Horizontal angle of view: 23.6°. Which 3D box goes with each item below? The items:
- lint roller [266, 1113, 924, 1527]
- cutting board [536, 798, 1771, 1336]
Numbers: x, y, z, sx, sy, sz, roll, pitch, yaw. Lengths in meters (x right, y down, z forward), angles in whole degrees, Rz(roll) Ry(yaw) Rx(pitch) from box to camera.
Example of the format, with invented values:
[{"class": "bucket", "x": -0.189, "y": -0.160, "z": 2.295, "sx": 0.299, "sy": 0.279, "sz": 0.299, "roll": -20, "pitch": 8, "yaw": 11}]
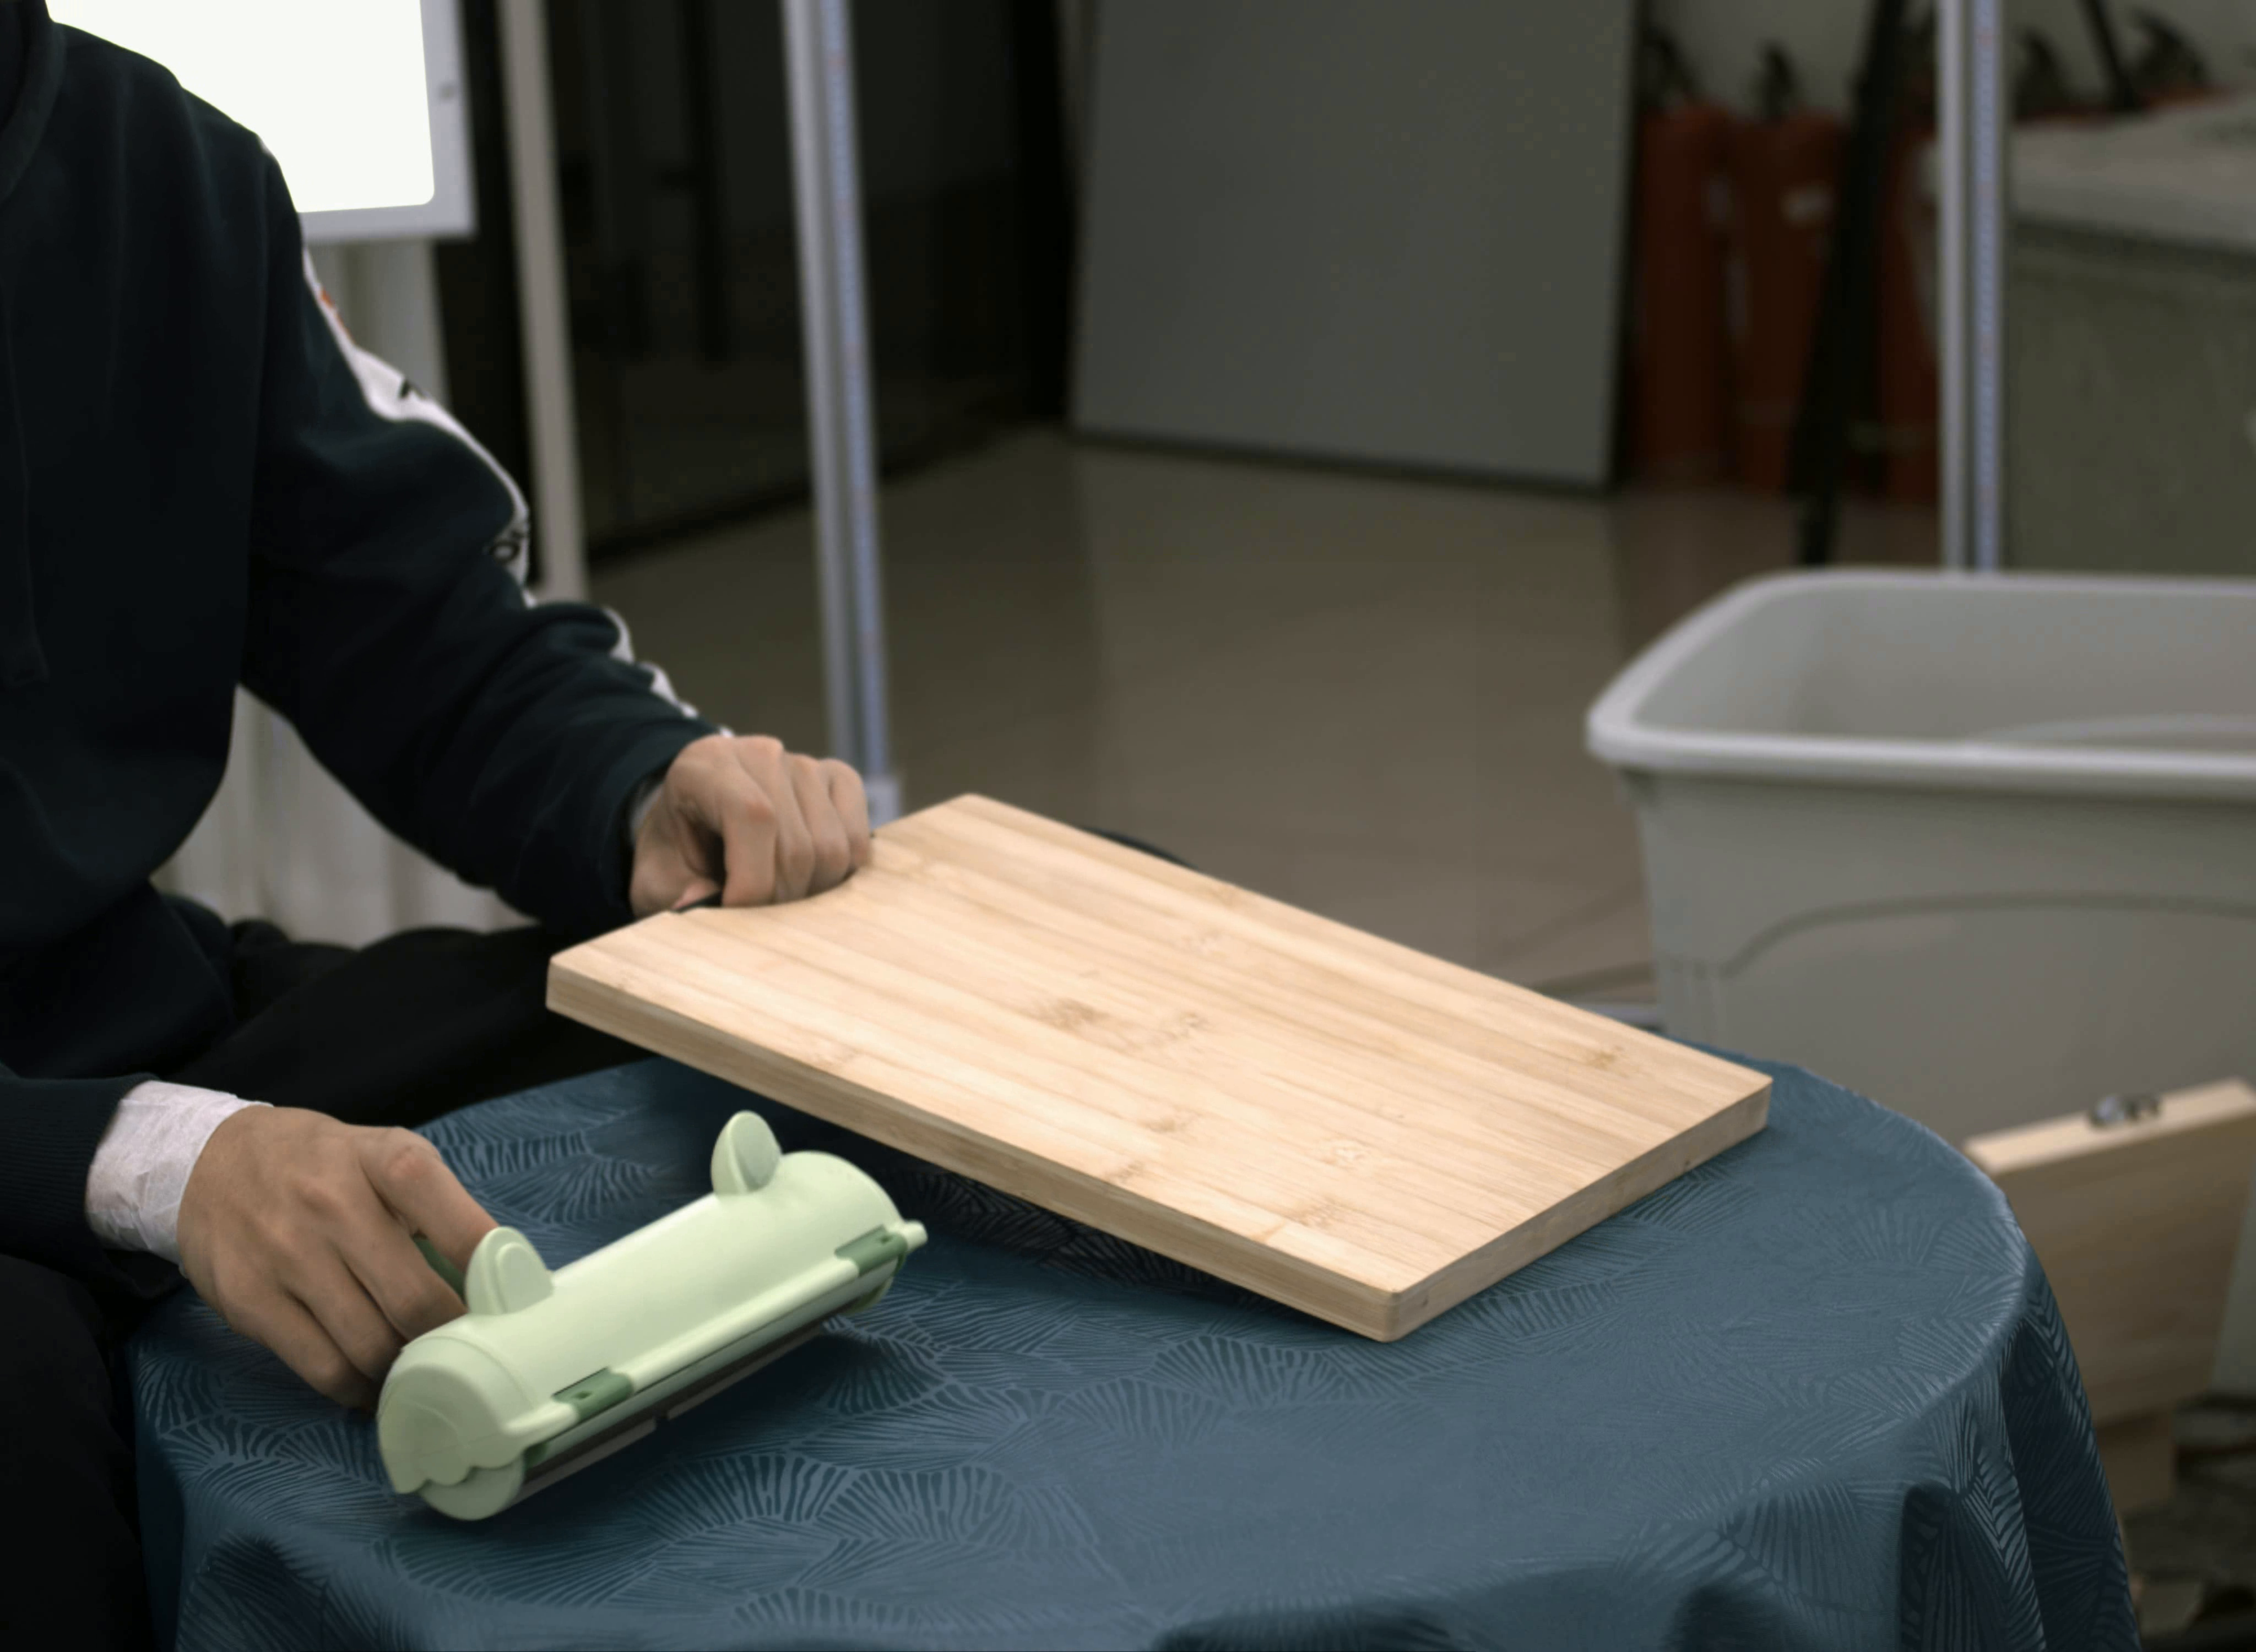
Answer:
[{"class": "lint roller", "x": -0.185, "y": 0.129, "z": 1.601, "sx": 0.184, "sy": 0.083, "sz": 0.195, "roll": 15, "pitch": 22, "yaw": 32}, {"class": "cutting board", "x": 0.008, "y": 0.073, "z": 1.794, "sx": 0.351, "sy": 0.024, "sz": 0.246, "roll": 18, "pitch": 24, "yaw": 32}]
